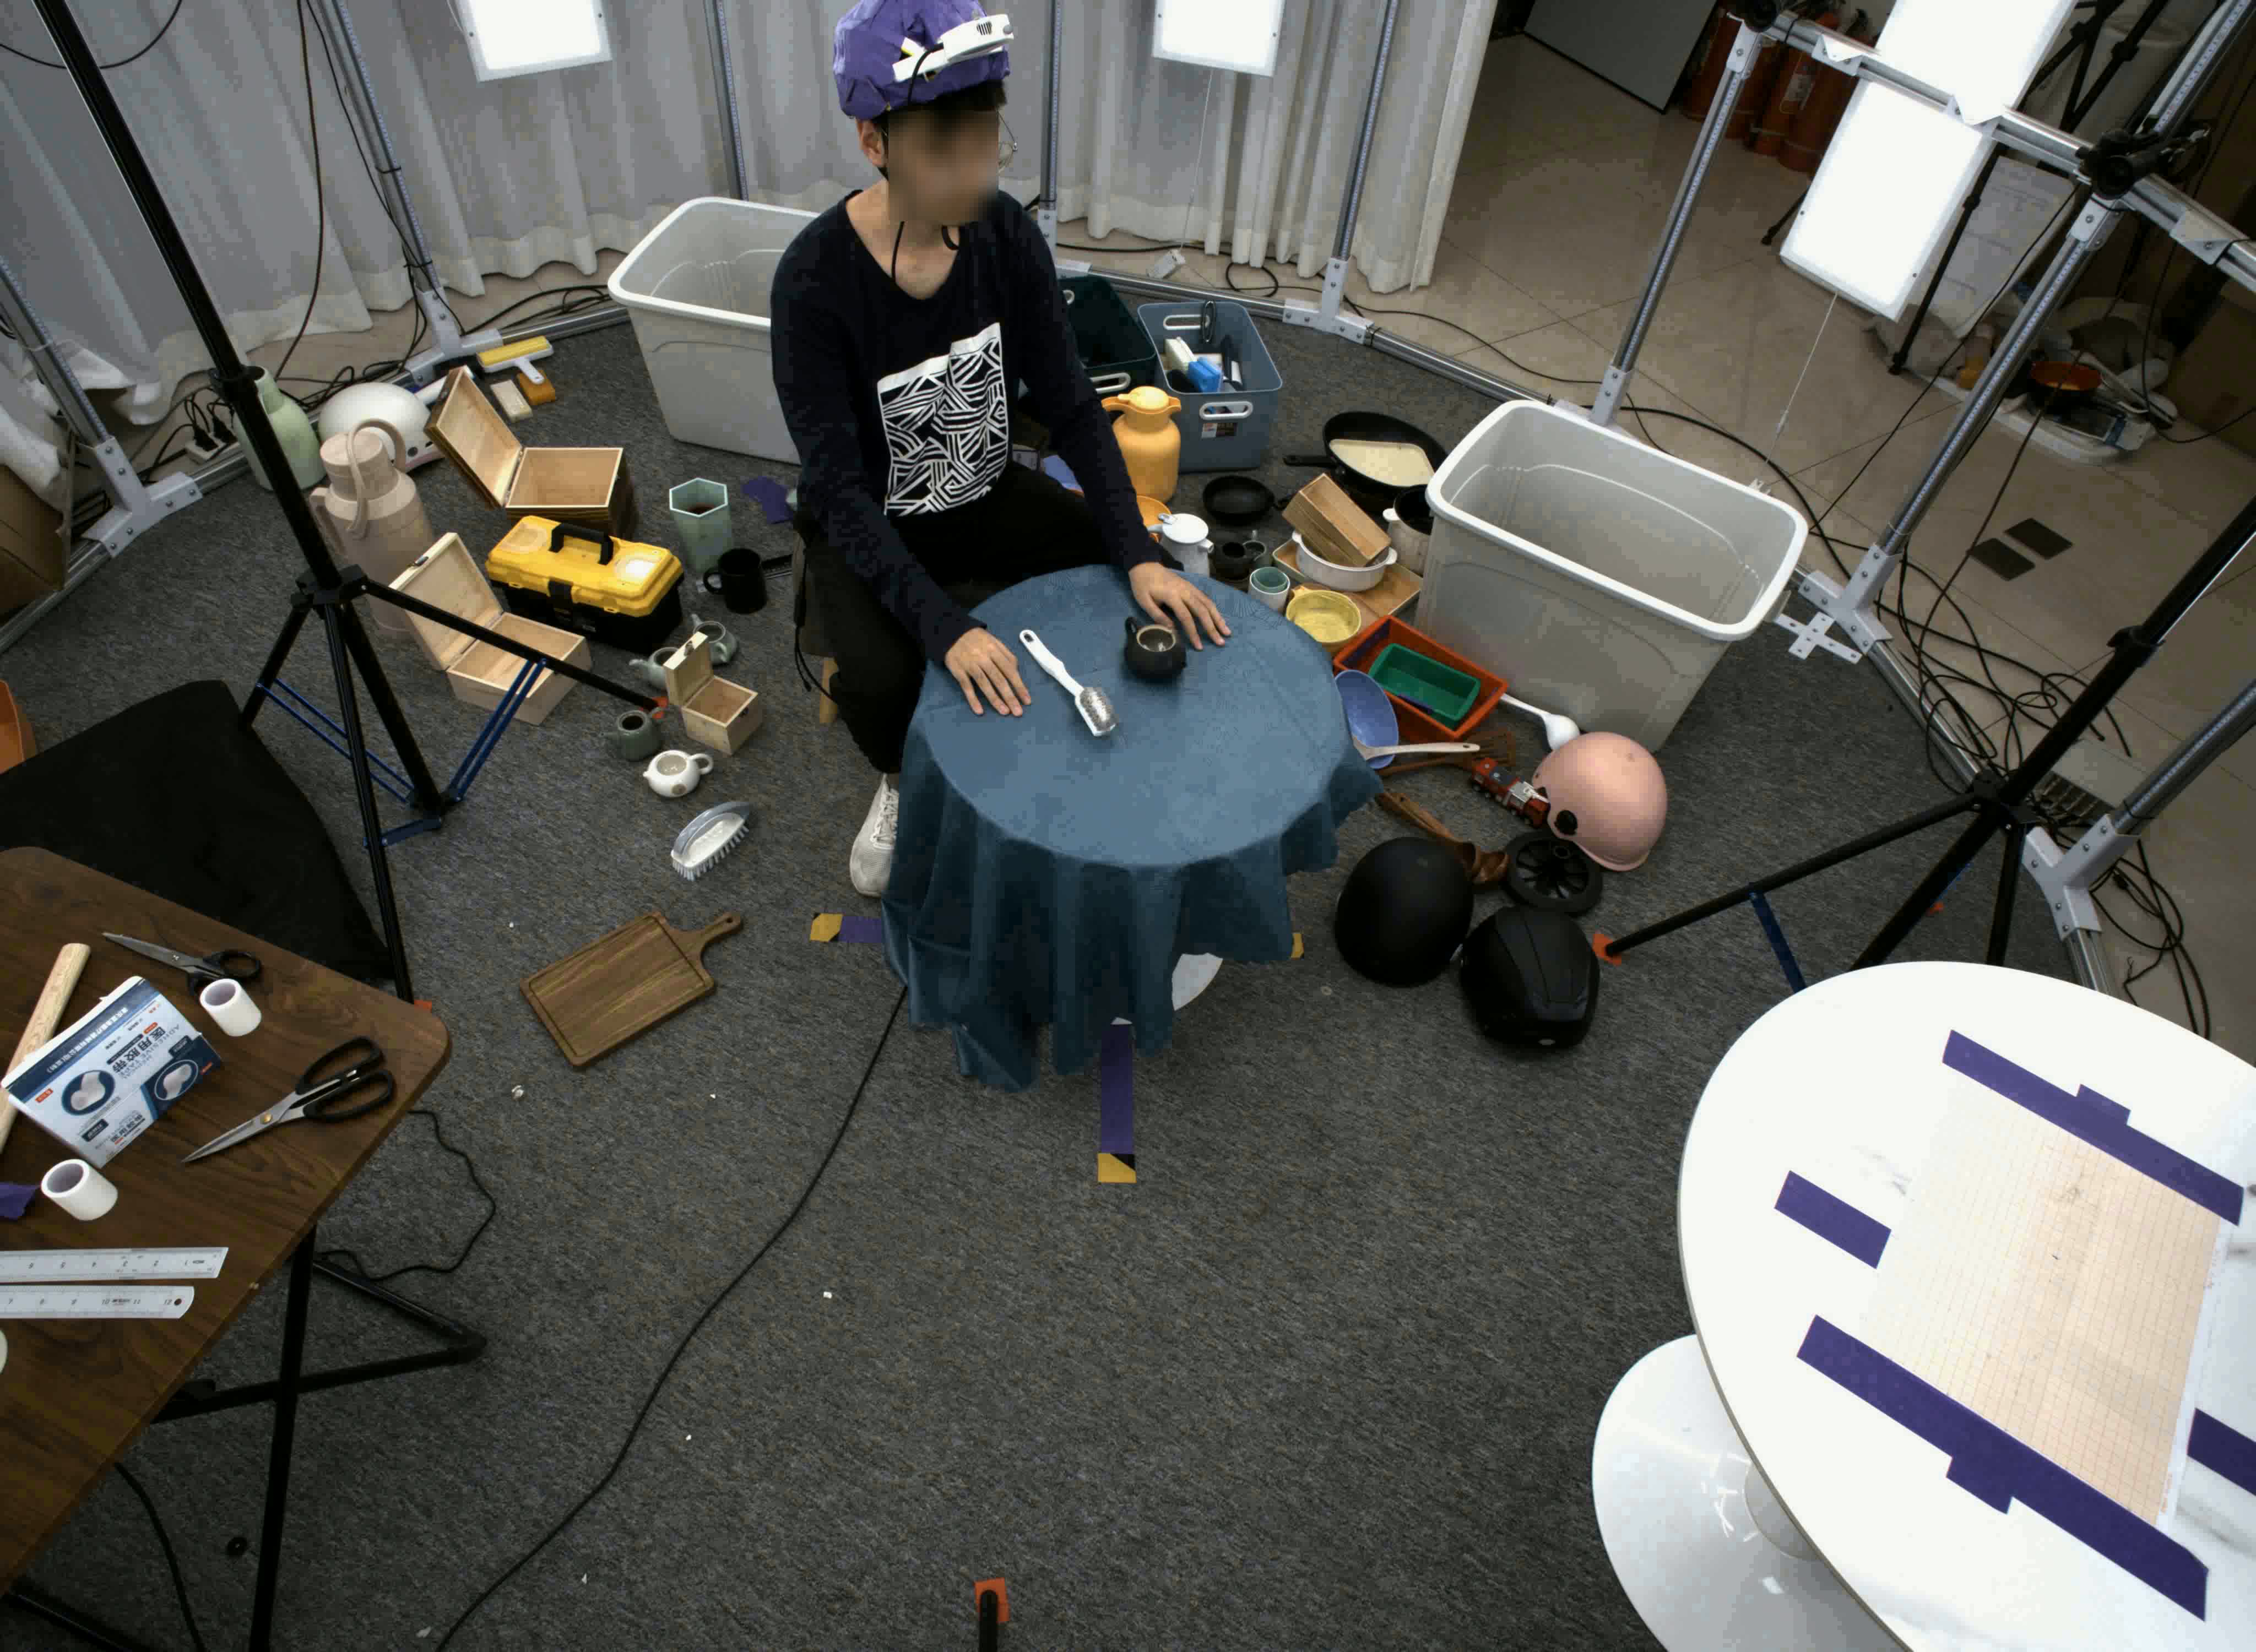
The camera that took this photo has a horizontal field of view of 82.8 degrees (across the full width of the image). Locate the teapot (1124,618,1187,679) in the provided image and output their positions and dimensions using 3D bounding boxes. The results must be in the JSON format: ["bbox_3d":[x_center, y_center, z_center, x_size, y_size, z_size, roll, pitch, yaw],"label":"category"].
[{"bbox_3d":[0.039,-0.252,1.855,0.091,0.052,0.135,-27,55,-28],"label":"teapot"}]

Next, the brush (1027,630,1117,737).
[{"bbox_3d":[-0.085,-0.216,1.820,0.034,0.049,0.249,-22,54,-17],"label":"brush"}]
